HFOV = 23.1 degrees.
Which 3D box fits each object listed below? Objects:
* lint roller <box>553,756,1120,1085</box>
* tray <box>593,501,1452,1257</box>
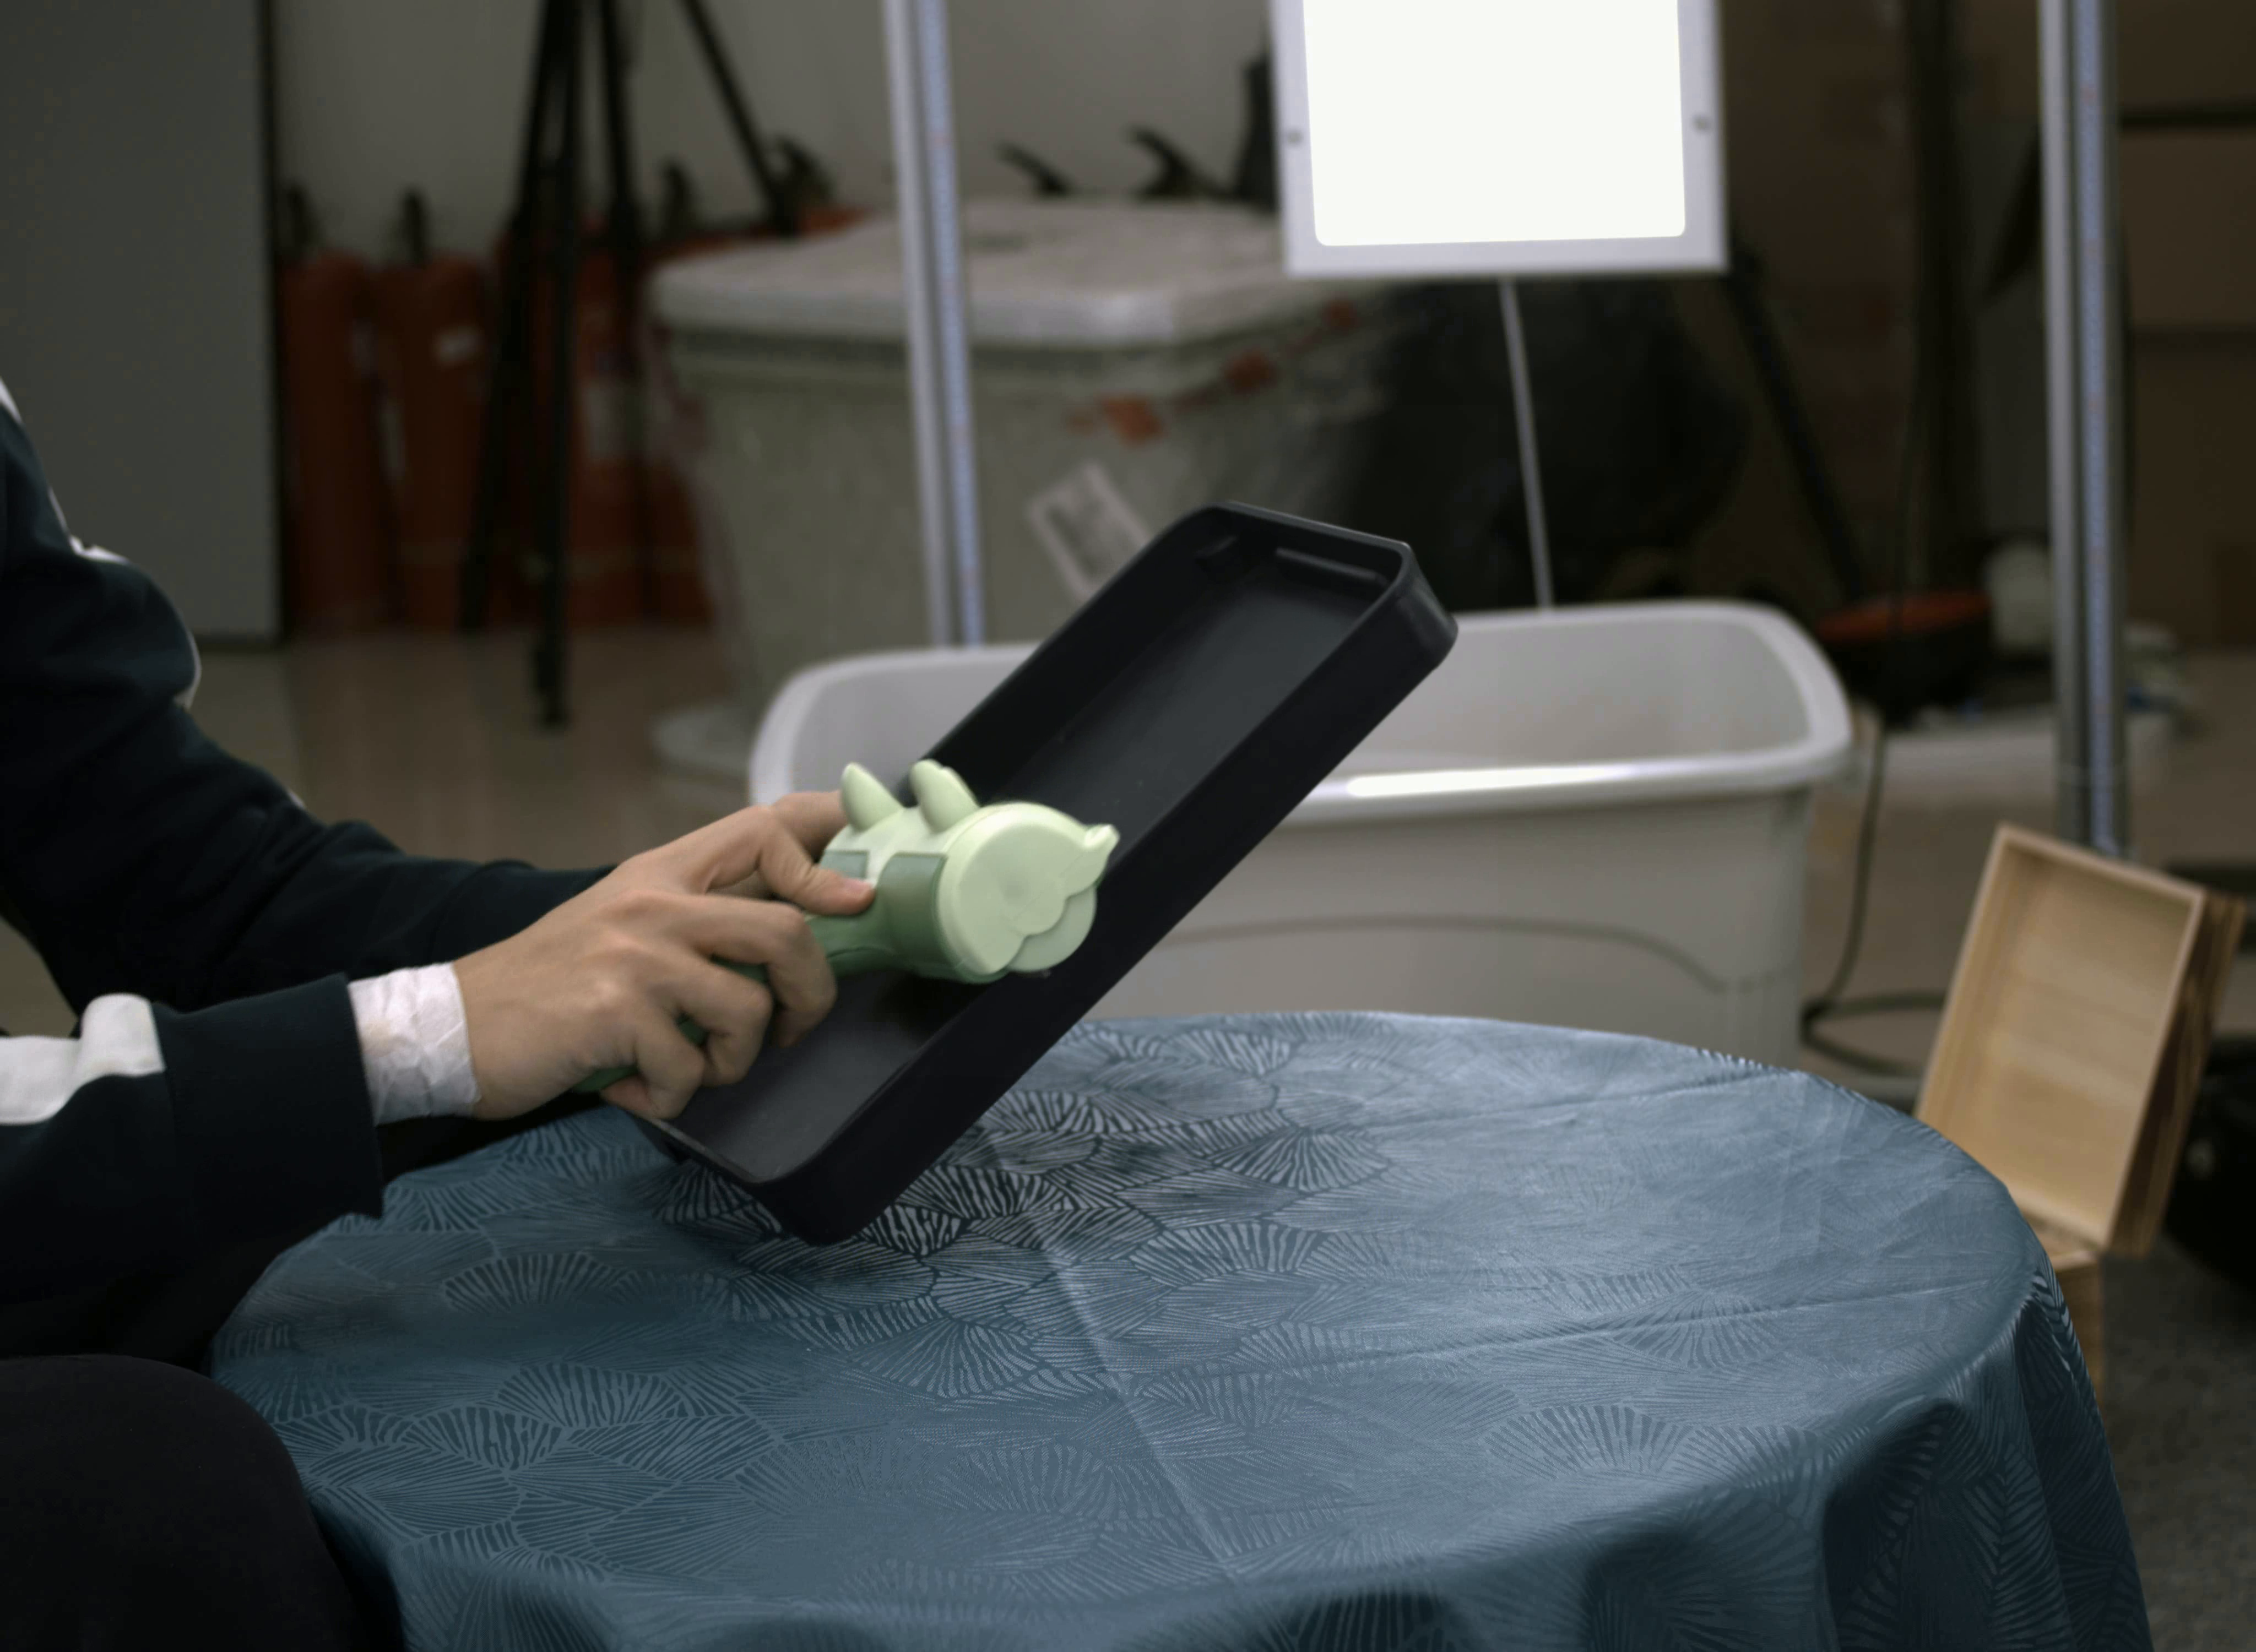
[{"bbox_3d":[-0.110,0.027,1.834,0.181,0.082,0.201,-14,4,-13],"label":"lint roller"},{"bbox_3d":[-0.038,0.013,1.917,0.316,0.037,0.187,-45,24,-10],"label":"tray"}]
